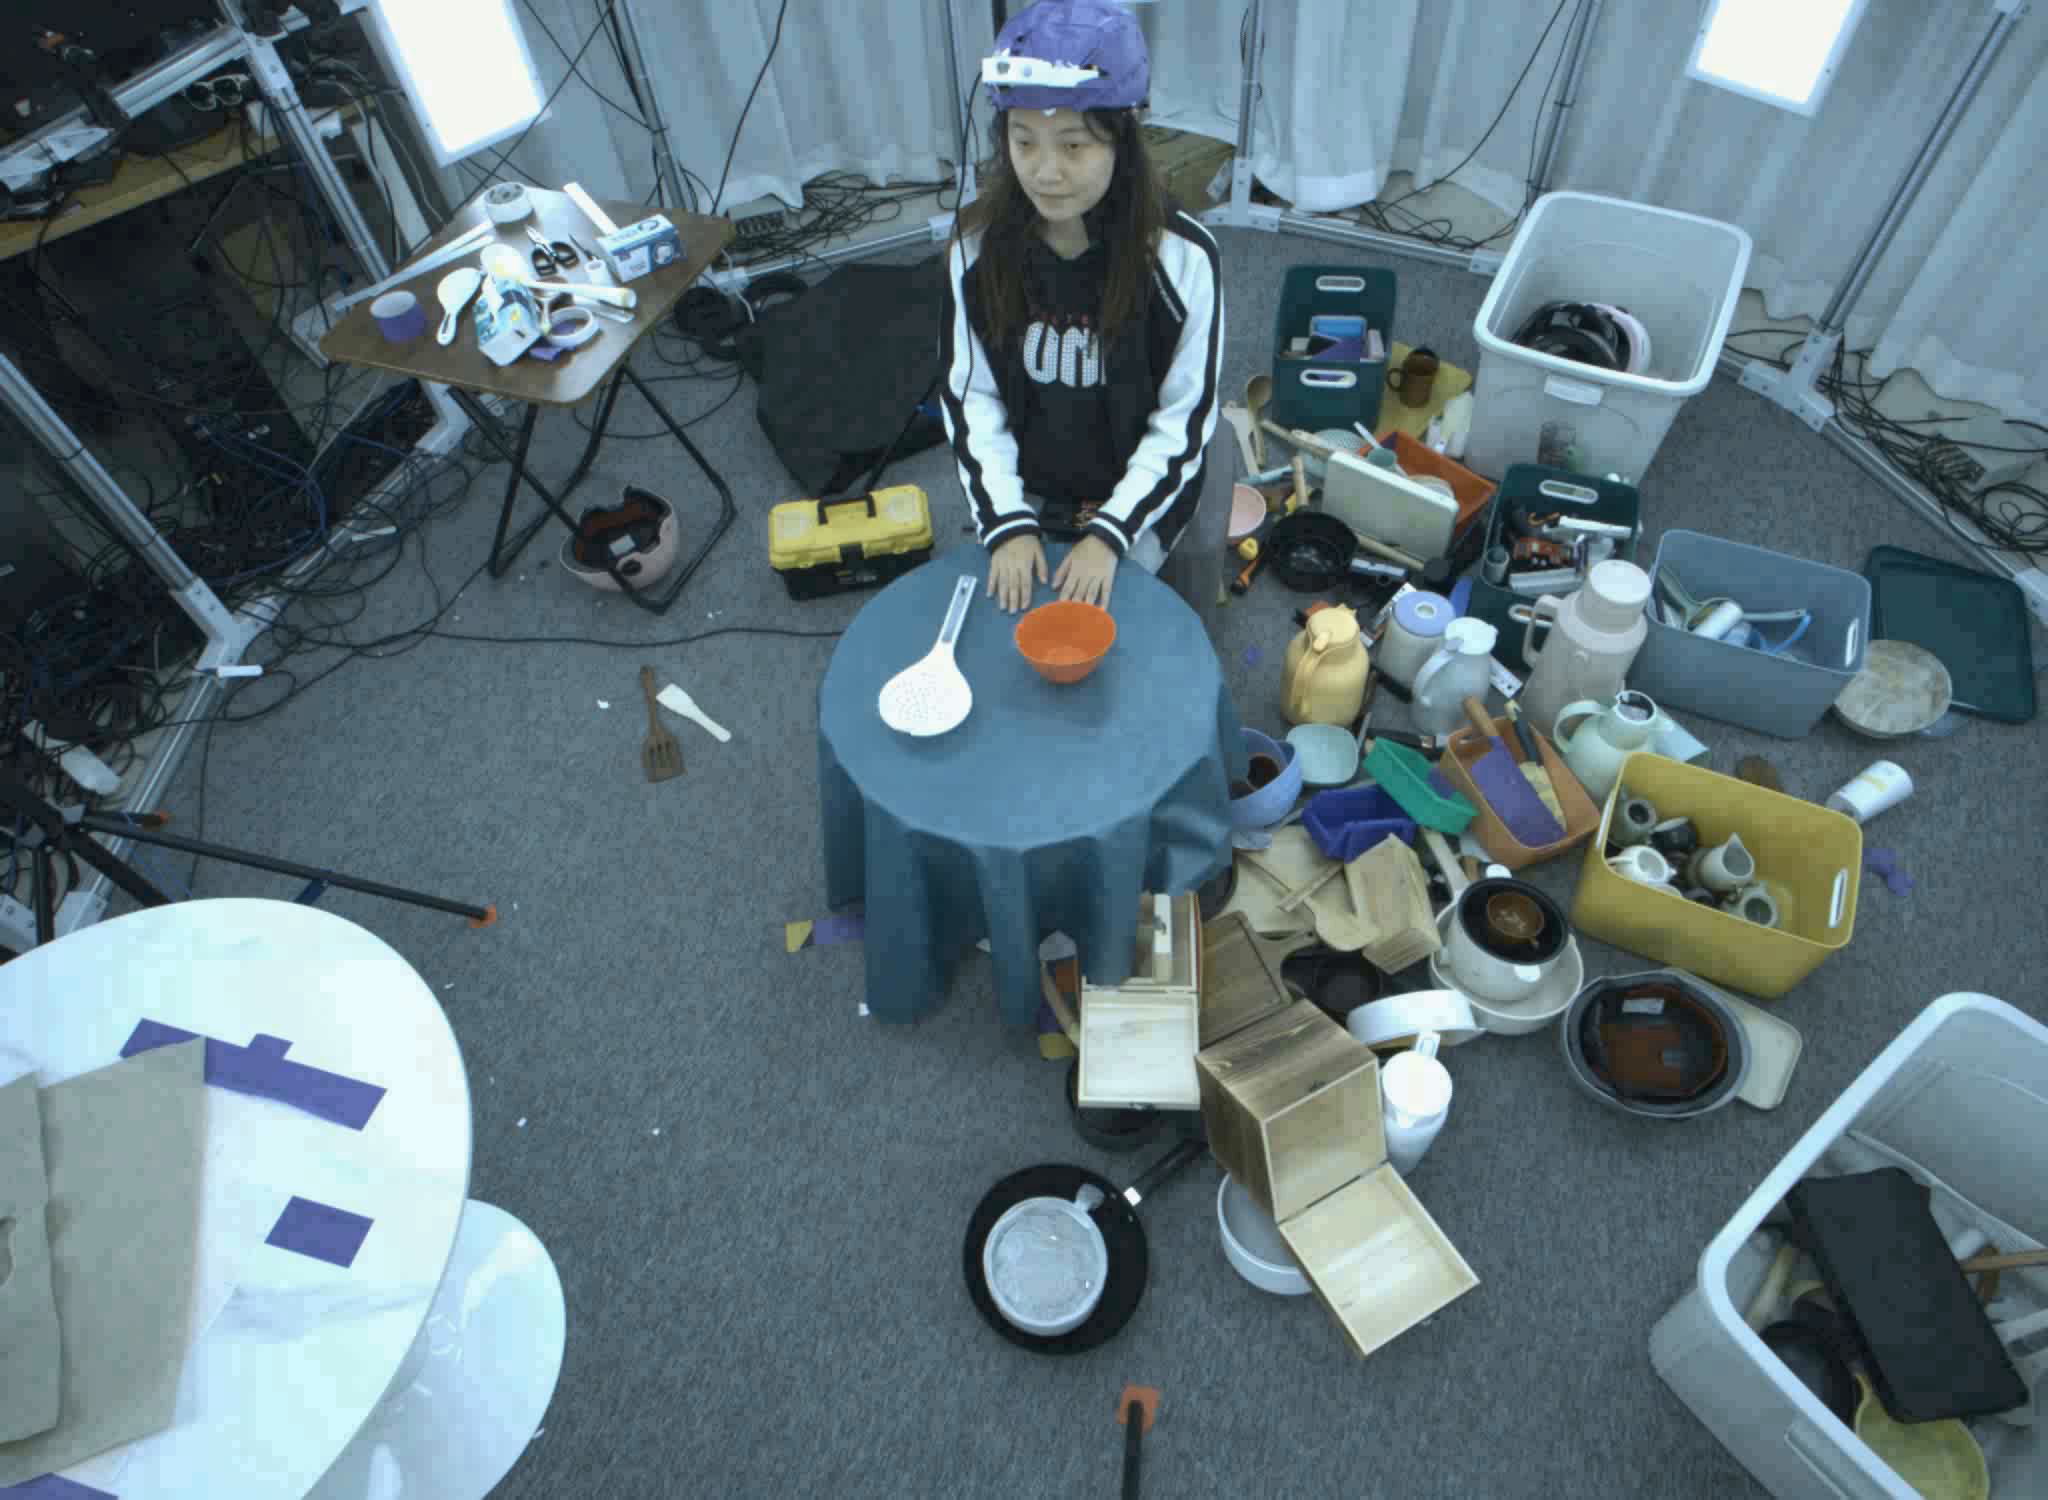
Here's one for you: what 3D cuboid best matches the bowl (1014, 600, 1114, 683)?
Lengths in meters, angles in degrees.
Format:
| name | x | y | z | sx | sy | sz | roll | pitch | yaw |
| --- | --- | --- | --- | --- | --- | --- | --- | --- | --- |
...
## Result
| name | x | y | z | sx | sy | sz | roll | pitch | yaw |
| --- | --- | --- | --- | --- | --- | --- | --- | --- | --- |
| bowl | 0.062 | -0.148 | 1.828 | 0.147 | 0.106 | 0.146 | -2 | 54 | 4 |

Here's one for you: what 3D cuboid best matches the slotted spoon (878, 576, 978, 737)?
| name | x | y | z | sx | sy | sz | roll | pitch | yaw |
| --- | --- | --- | --- | --- | --- | --- | --- | --- | --- |
| slotted spoon | -0.124 | -0.147 | 1.869 | 0.135 | 0.046 | 0.348 | 9 | 55 | 7 |
